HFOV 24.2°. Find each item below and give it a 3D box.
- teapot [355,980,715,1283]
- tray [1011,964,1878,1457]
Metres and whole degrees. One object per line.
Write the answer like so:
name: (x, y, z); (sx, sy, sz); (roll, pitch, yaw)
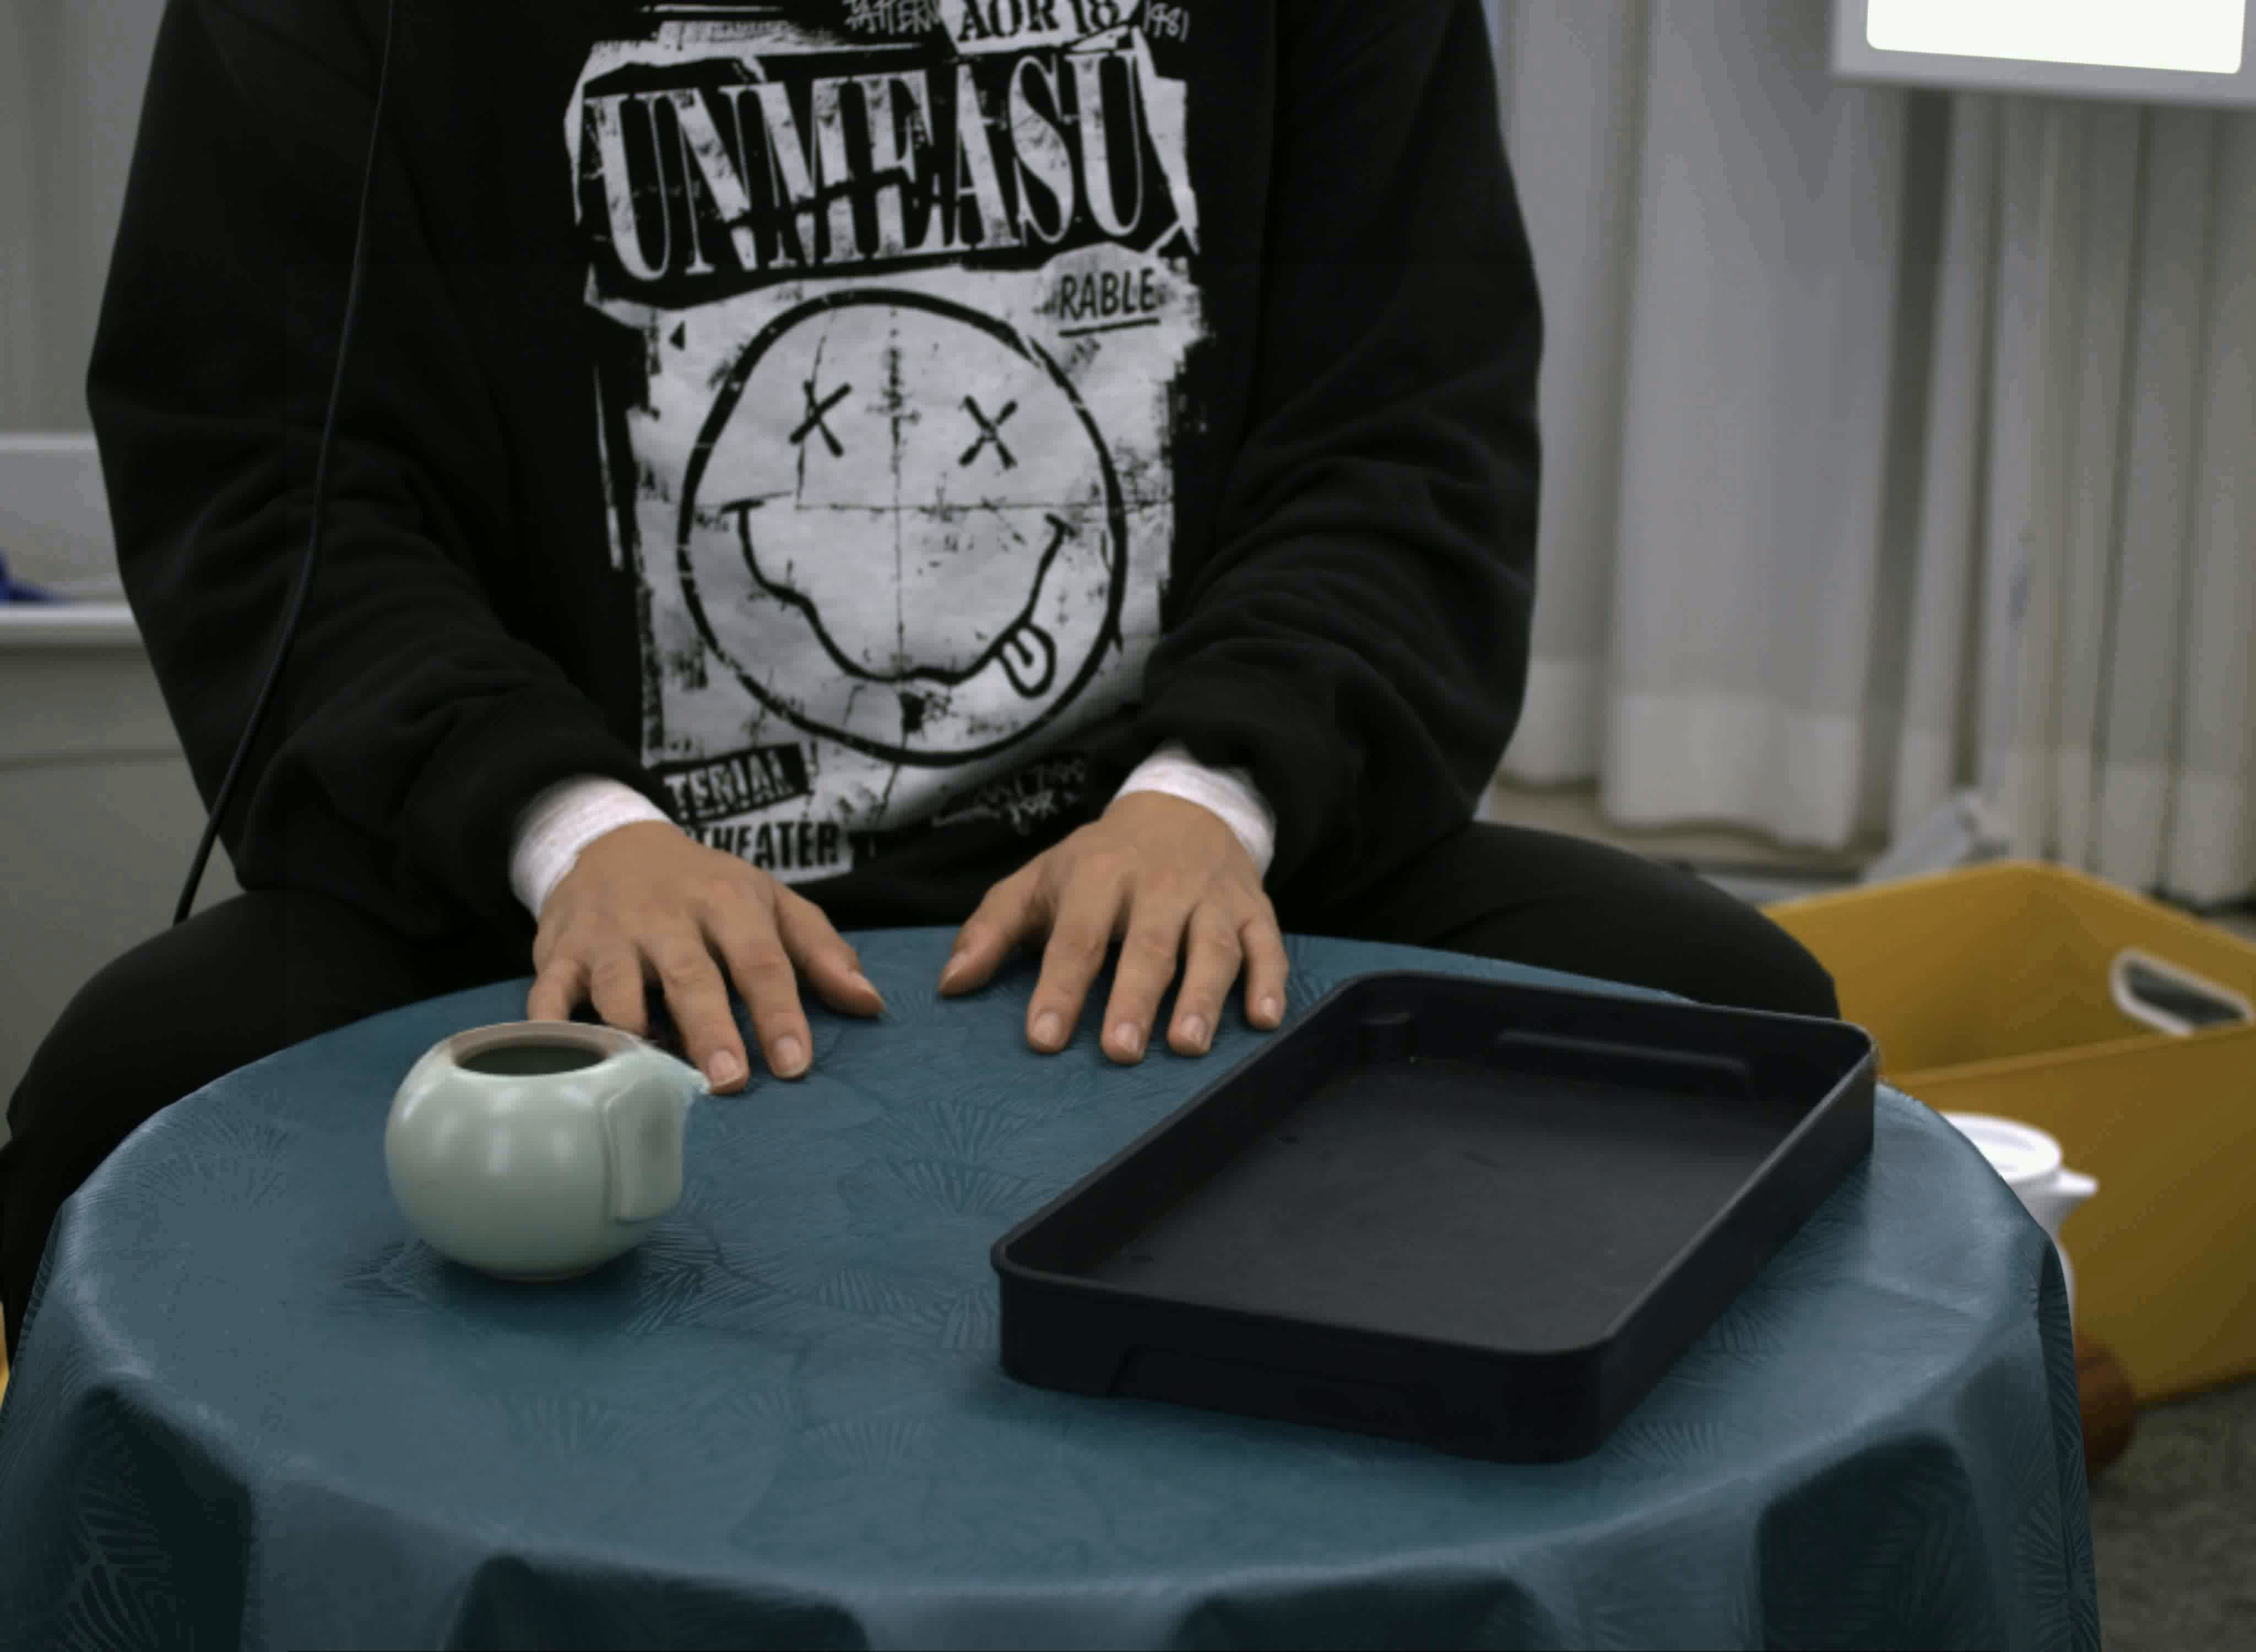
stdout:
teapot: (-0.175, 0.093, 1.550); (0.142, 0.075, 0.089); (16, 22, 38)
tray: (0.103, 0.107, 1.575); (0.182, 0.037, 0.318); (6, 17, 20)
